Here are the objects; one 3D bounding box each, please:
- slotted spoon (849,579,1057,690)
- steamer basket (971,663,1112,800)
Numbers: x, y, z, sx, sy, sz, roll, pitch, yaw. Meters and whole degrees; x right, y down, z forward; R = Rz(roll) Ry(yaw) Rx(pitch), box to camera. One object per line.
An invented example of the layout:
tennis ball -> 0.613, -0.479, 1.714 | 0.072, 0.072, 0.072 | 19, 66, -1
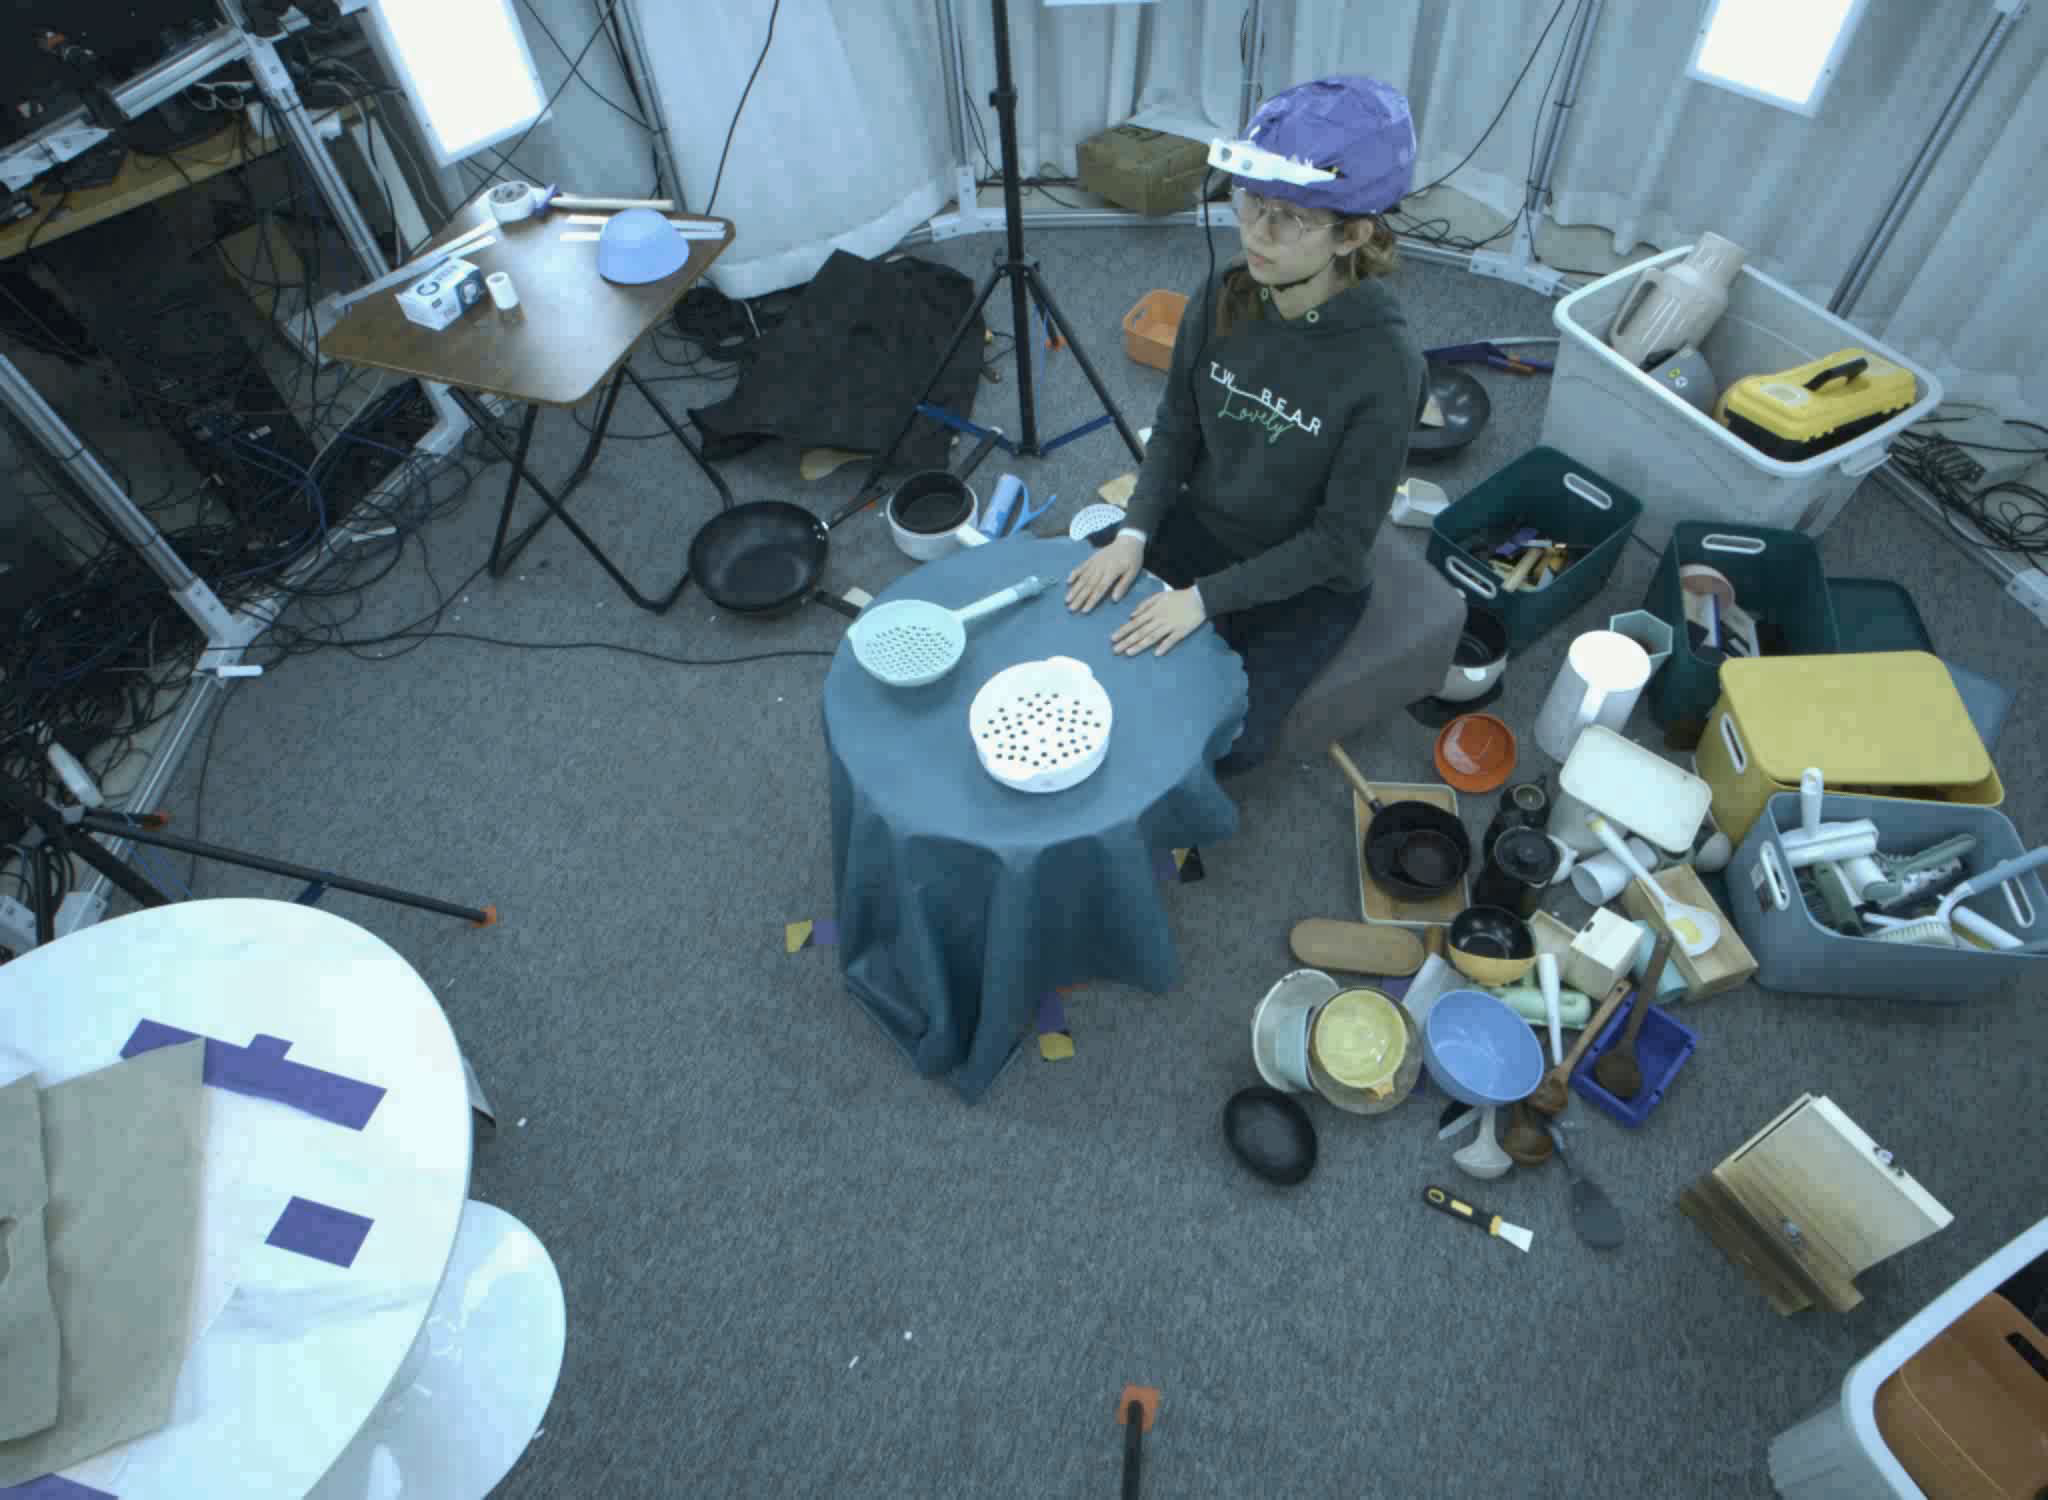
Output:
slotted spoon -> -0.095, -0.198, 1.900 | 0.361, 0.076, 0.166 | -33, 61, -20
steamer basket -> 0.026, -0.022, 1.773 | 0.200, 0.070, 0.230 | 20, 58, 14
